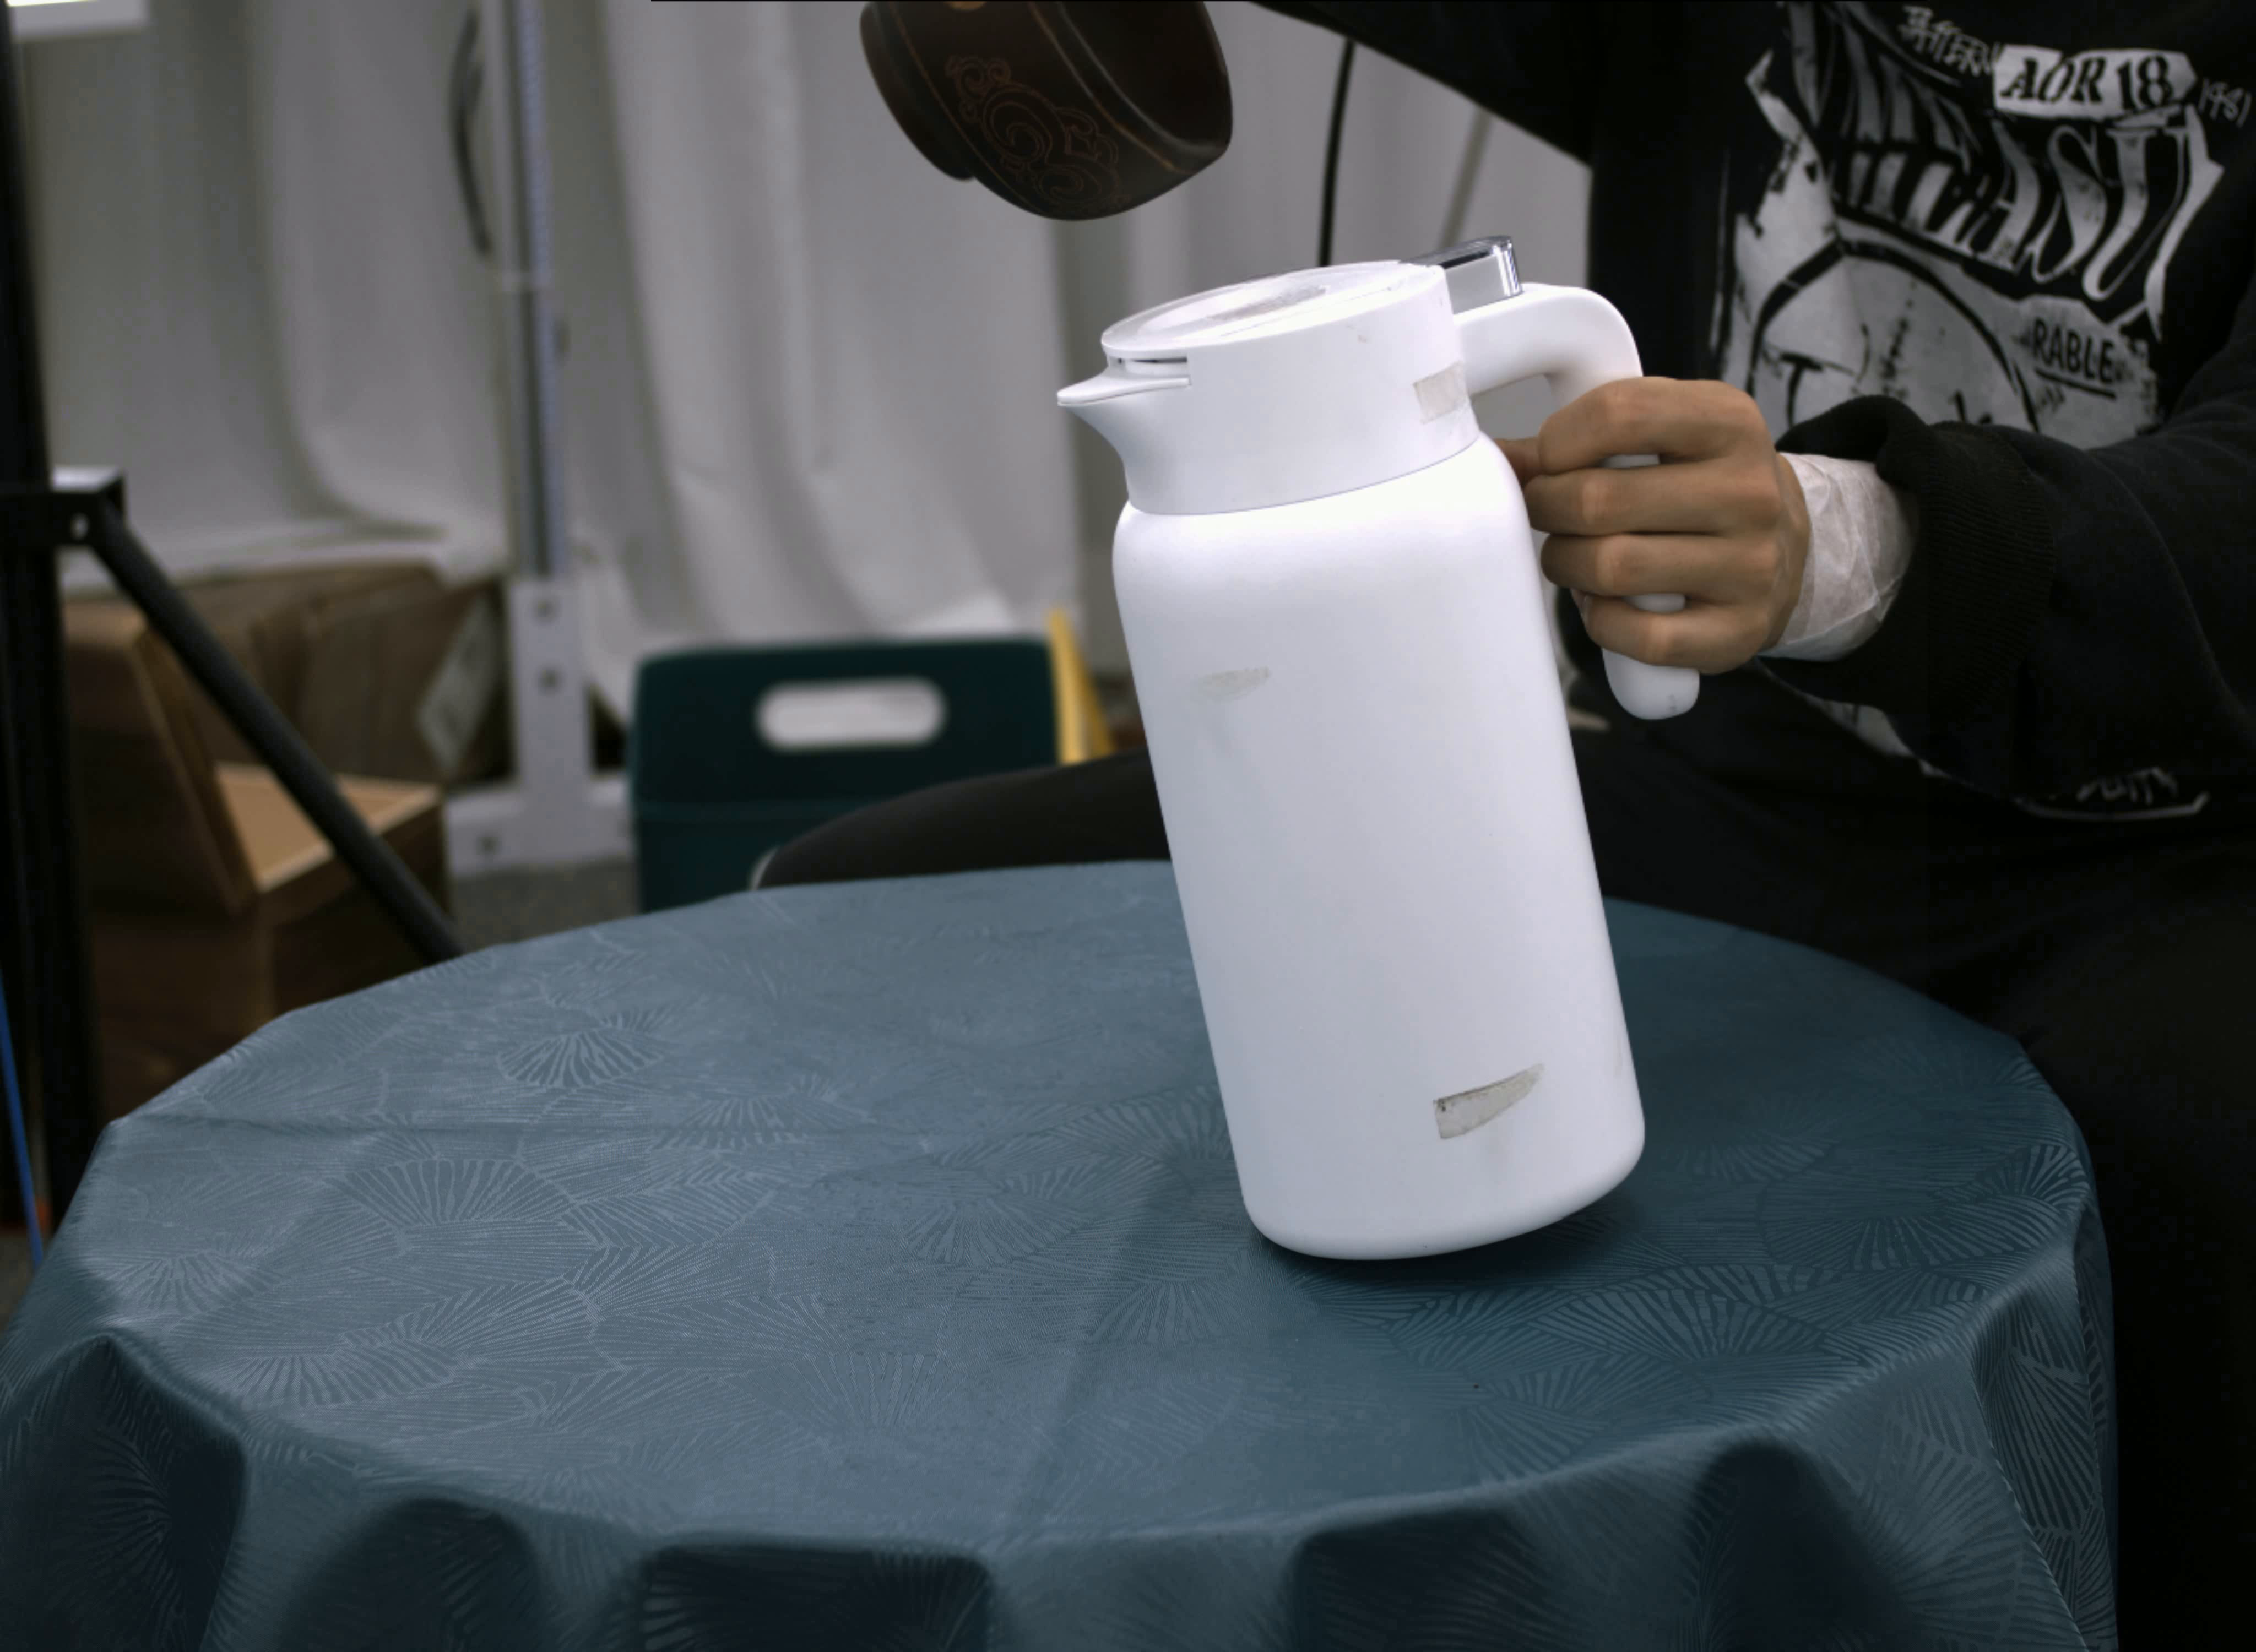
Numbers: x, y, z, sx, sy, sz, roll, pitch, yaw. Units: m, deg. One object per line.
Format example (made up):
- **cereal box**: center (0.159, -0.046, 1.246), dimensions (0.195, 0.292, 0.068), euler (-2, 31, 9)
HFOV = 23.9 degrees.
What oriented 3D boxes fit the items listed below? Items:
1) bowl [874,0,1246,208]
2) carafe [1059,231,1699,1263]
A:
- **bowl**: center (-0.026, -0.223, 1.472), dimensions (0.070, 0.118, 0.117), euler (-26, 7, 22)
- **carafe**: center (0.081, -0.025, 1.493), dimensions (0.170, 0.269, 0.126), euler (-17, 12, -22)
